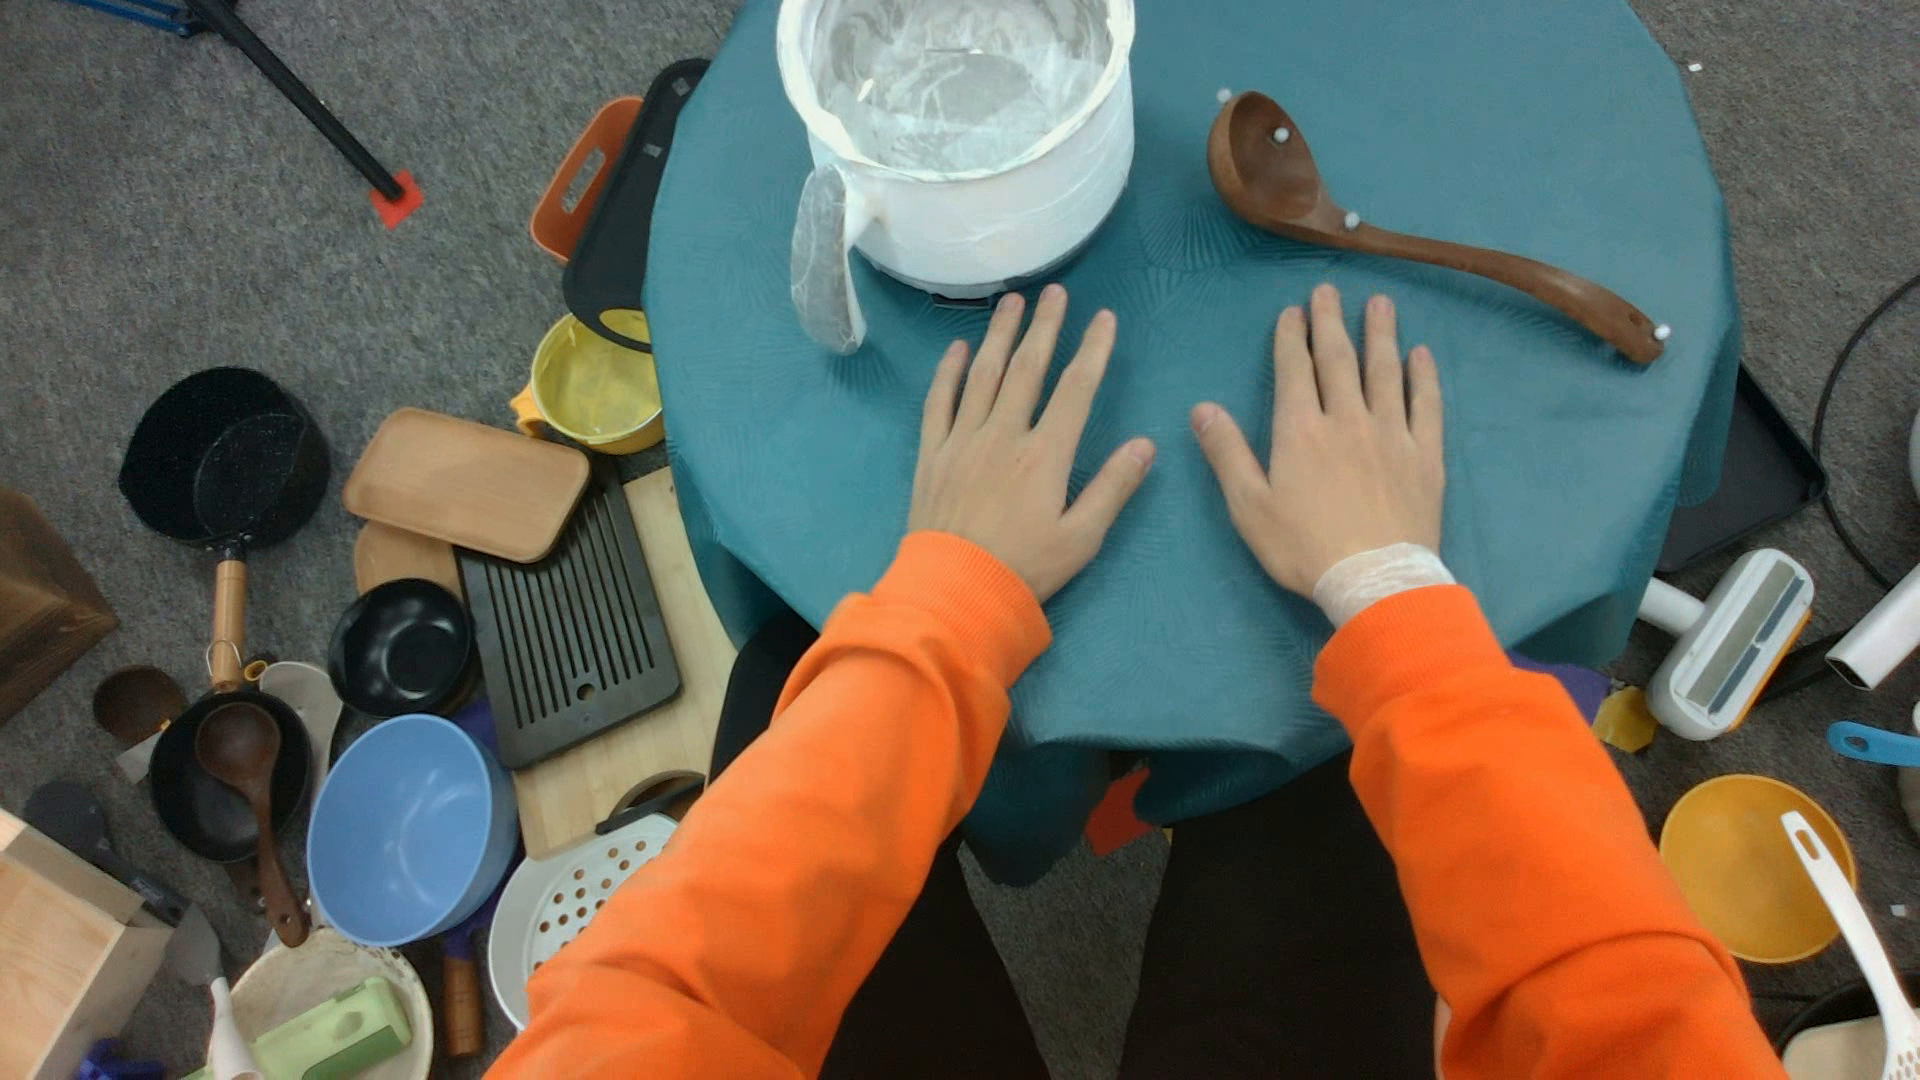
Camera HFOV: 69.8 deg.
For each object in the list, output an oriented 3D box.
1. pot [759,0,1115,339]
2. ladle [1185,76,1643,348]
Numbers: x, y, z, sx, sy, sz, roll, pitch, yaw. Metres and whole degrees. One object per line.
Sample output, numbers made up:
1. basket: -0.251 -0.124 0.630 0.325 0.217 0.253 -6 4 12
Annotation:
1. pot: -0.021 -0.218 0.731 0.179 0.136 0.234 31 77 16
2. ladle: 0.240 -0.173 0.726 0.260 0.065 0.077 25 60 14
